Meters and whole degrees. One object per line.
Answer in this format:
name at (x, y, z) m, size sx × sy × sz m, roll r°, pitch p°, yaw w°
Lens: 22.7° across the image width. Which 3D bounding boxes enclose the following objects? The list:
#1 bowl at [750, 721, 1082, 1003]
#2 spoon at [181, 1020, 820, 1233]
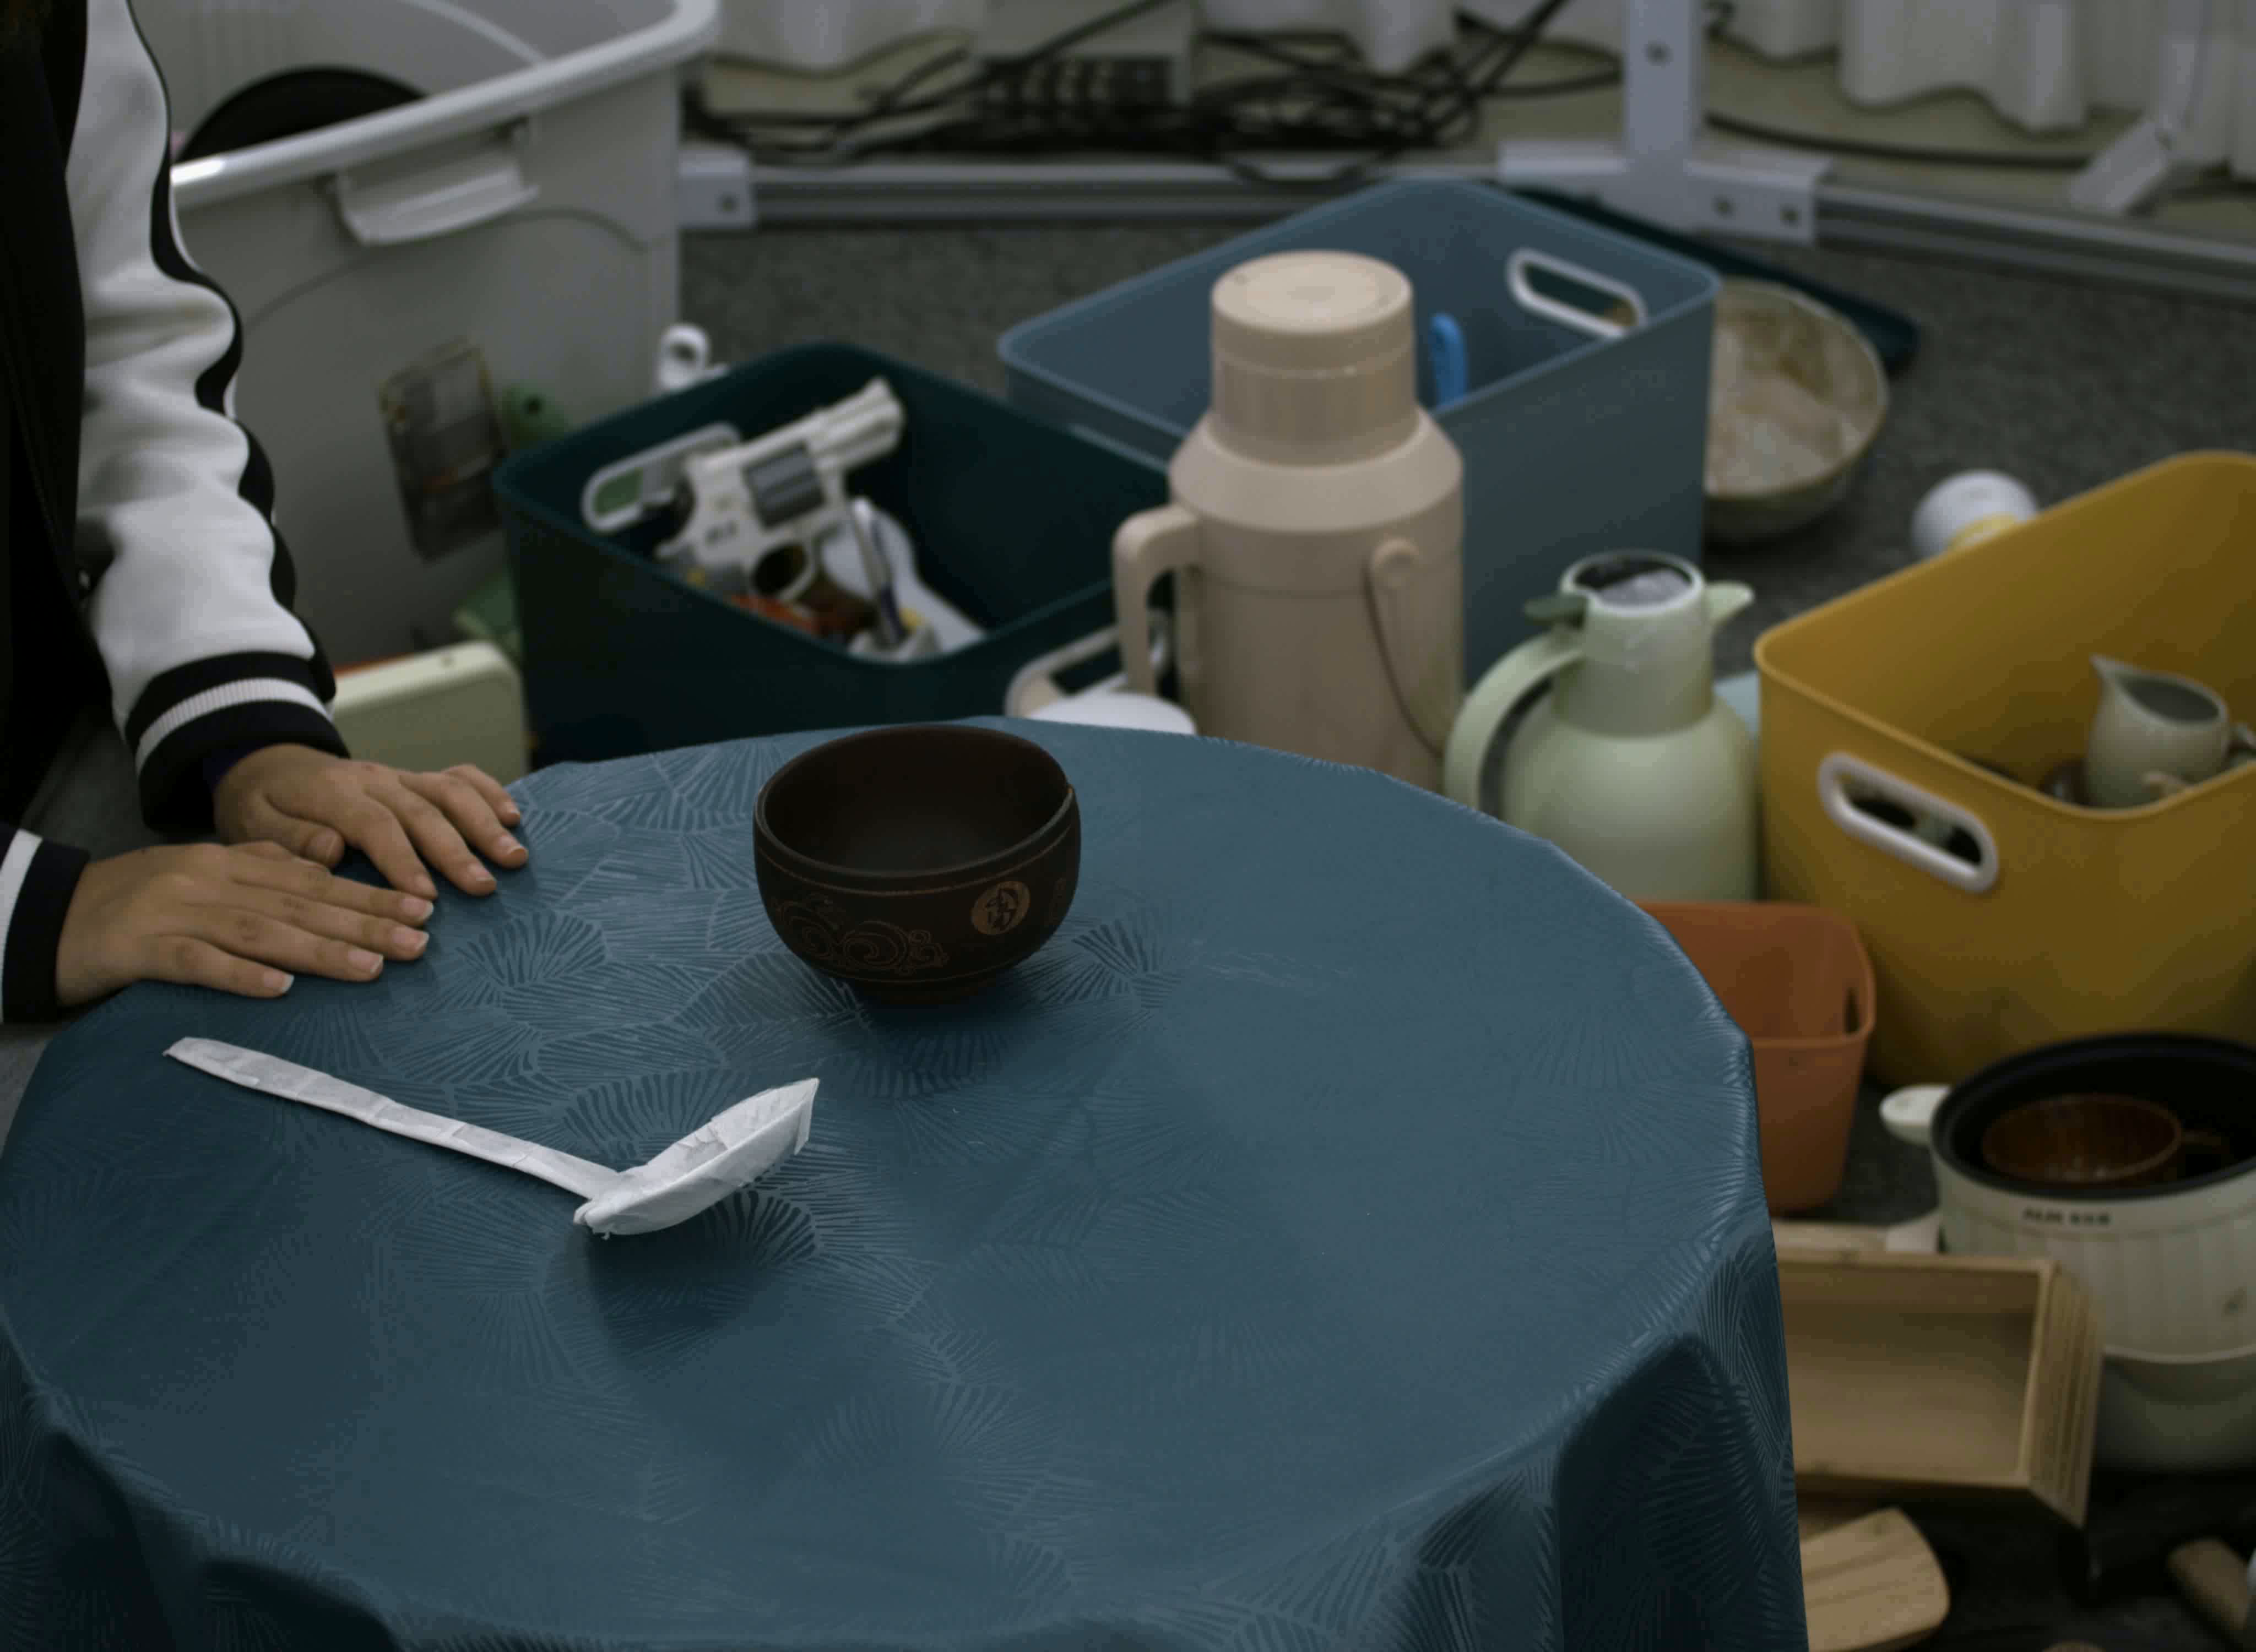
bowl at (-0.074, 0.019, 1.989) m, size 0.117 × 0.069 × 0.120 m, roll -2°, pitch 26°, yaw 2°
spoon at (-0.219, 0.082, 1.898) m, size 0.276 × 0.059 × 0.102 m, roll 17°, pitch 31°, yaw 33°
